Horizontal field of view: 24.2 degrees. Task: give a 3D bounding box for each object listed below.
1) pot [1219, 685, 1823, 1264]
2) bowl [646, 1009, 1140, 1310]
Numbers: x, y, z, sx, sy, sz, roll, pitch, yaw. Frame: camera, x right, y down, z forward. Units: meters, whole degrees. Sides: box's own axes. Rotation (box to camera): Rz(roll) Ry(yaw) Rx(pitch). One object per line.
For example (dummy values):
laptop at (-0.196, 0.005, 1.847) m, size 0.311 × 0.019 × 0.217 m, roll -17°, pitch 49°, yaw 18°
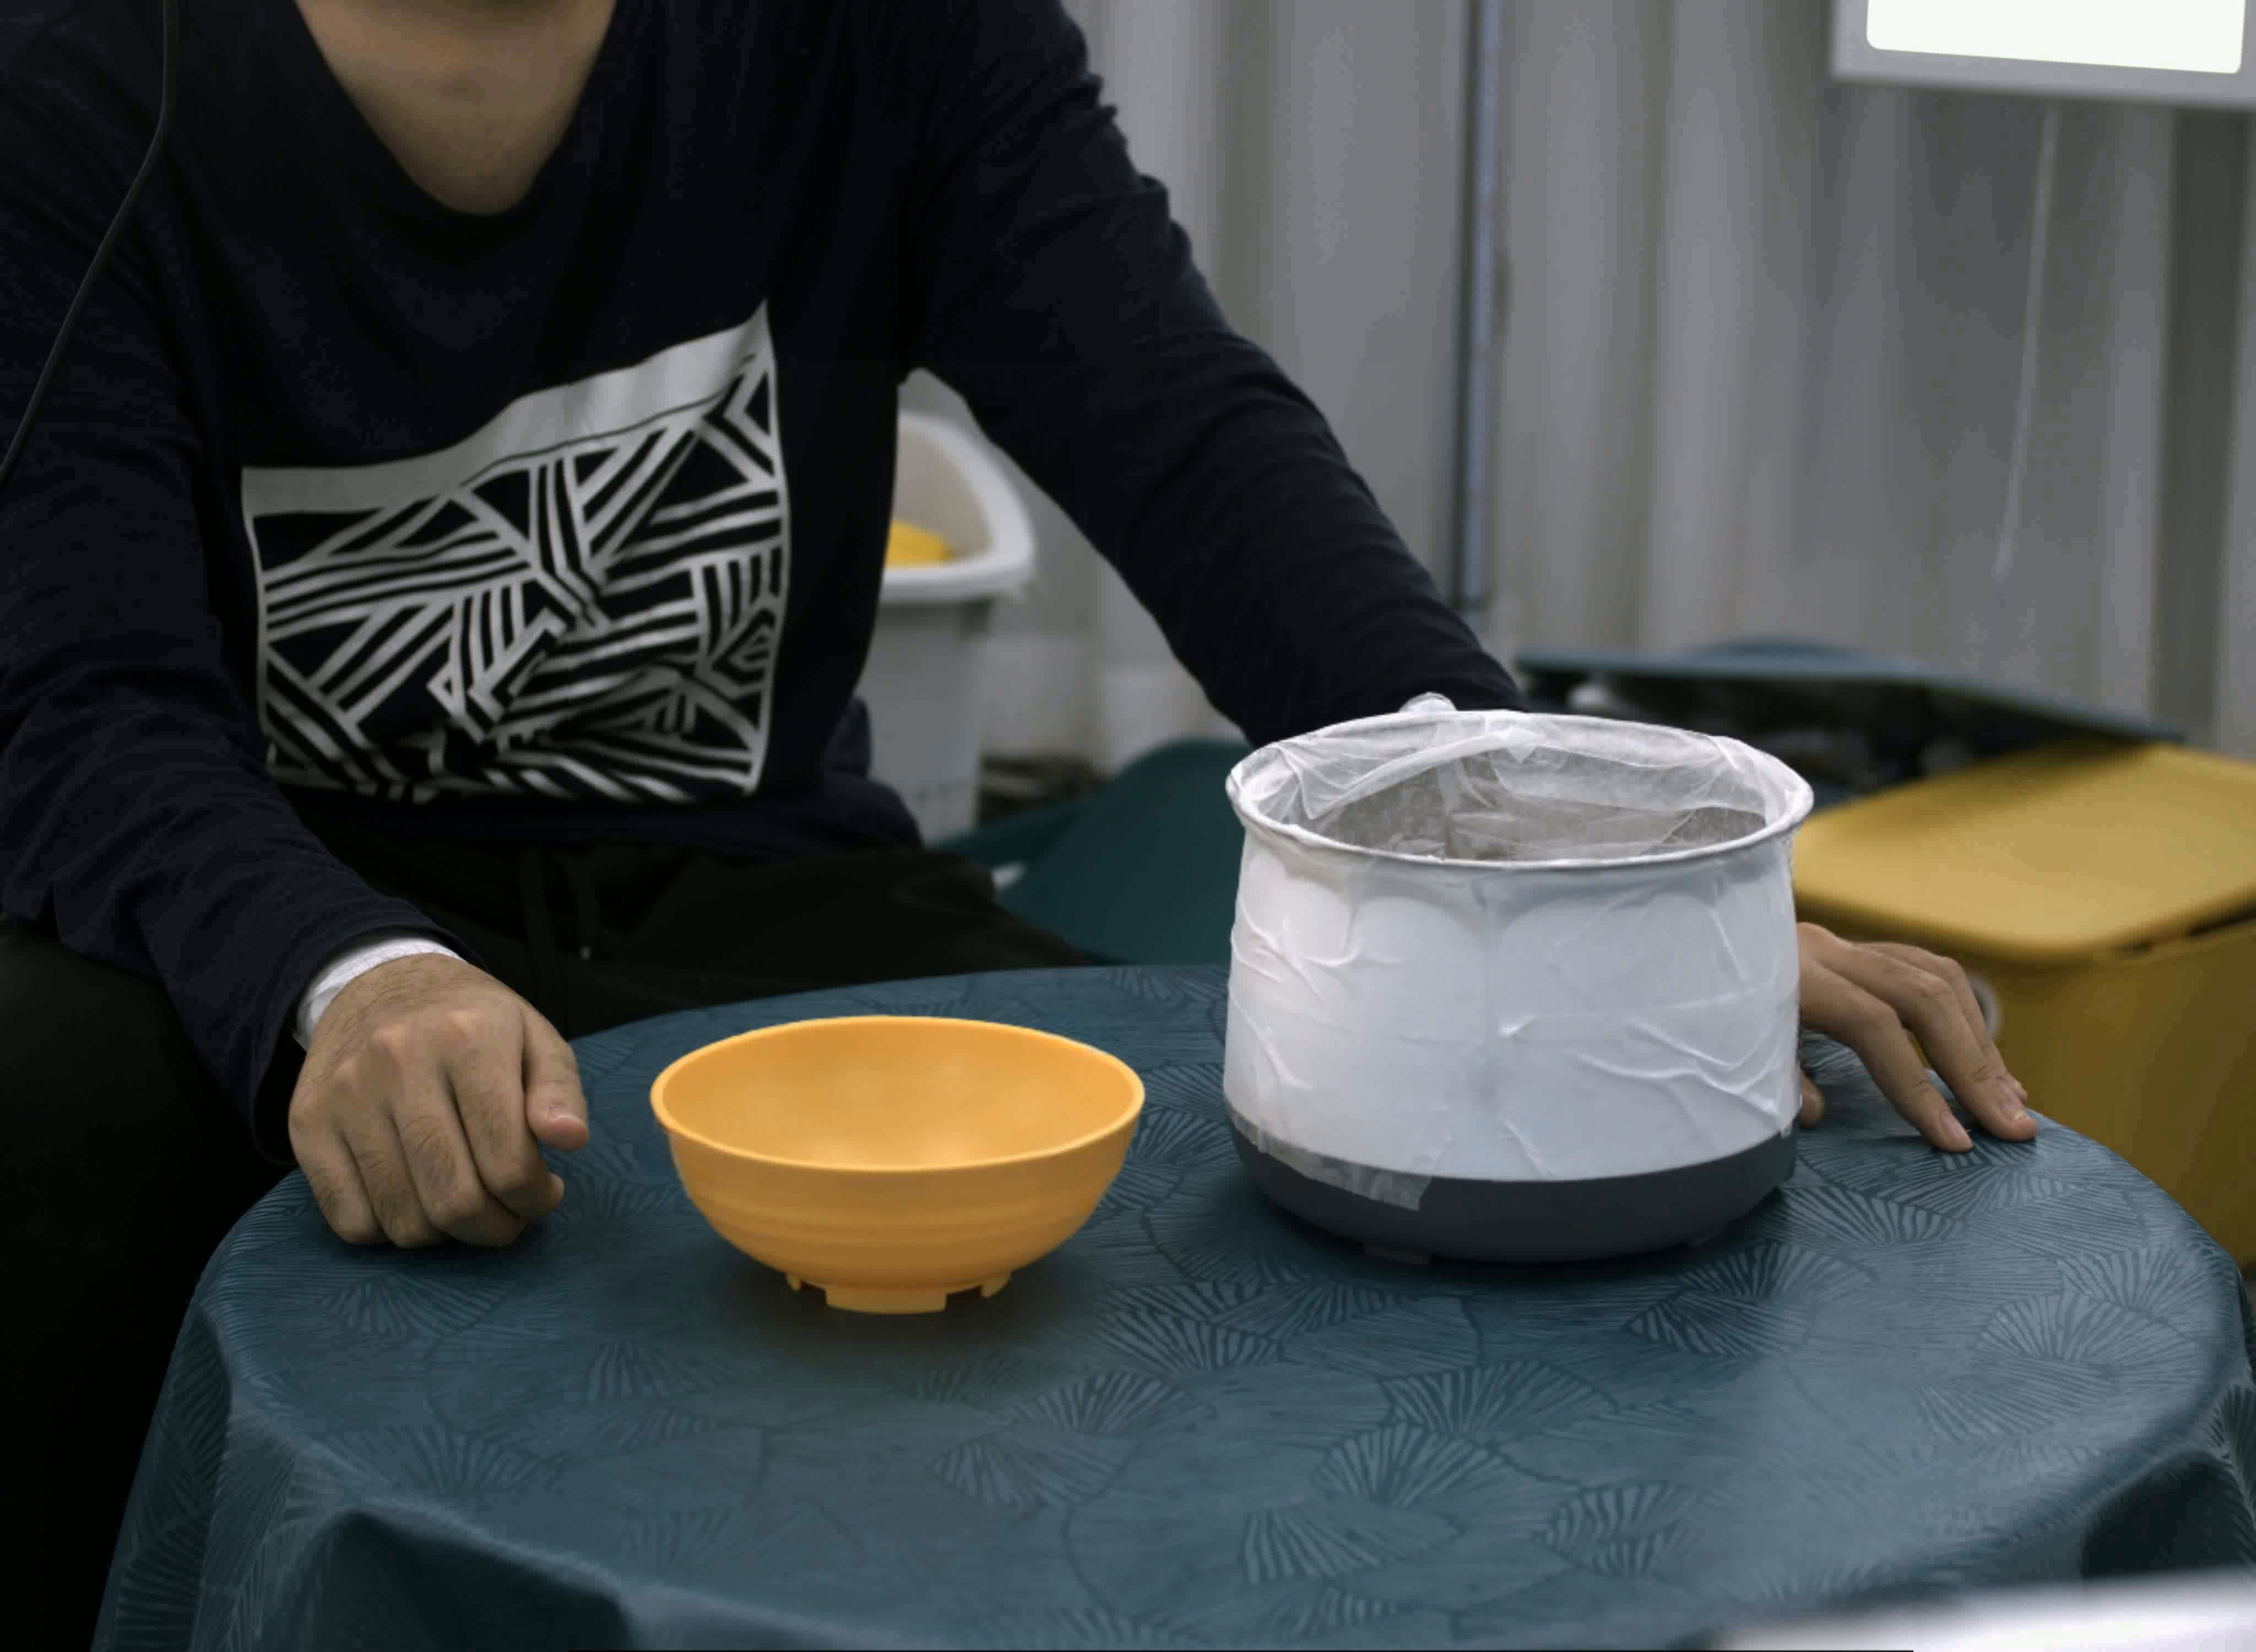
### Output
pot at (0.111, 0.041, 1.628) m, size 0.179 × 0.137 × 0.231 m, roll -1°, pitch 16°, yaw -15°
bowl at (-0.069, 0.103, 1.541) m, size 0.145 × 0.060 × 0.144 m, roll 2°, pitch 16°, yaw 0°
